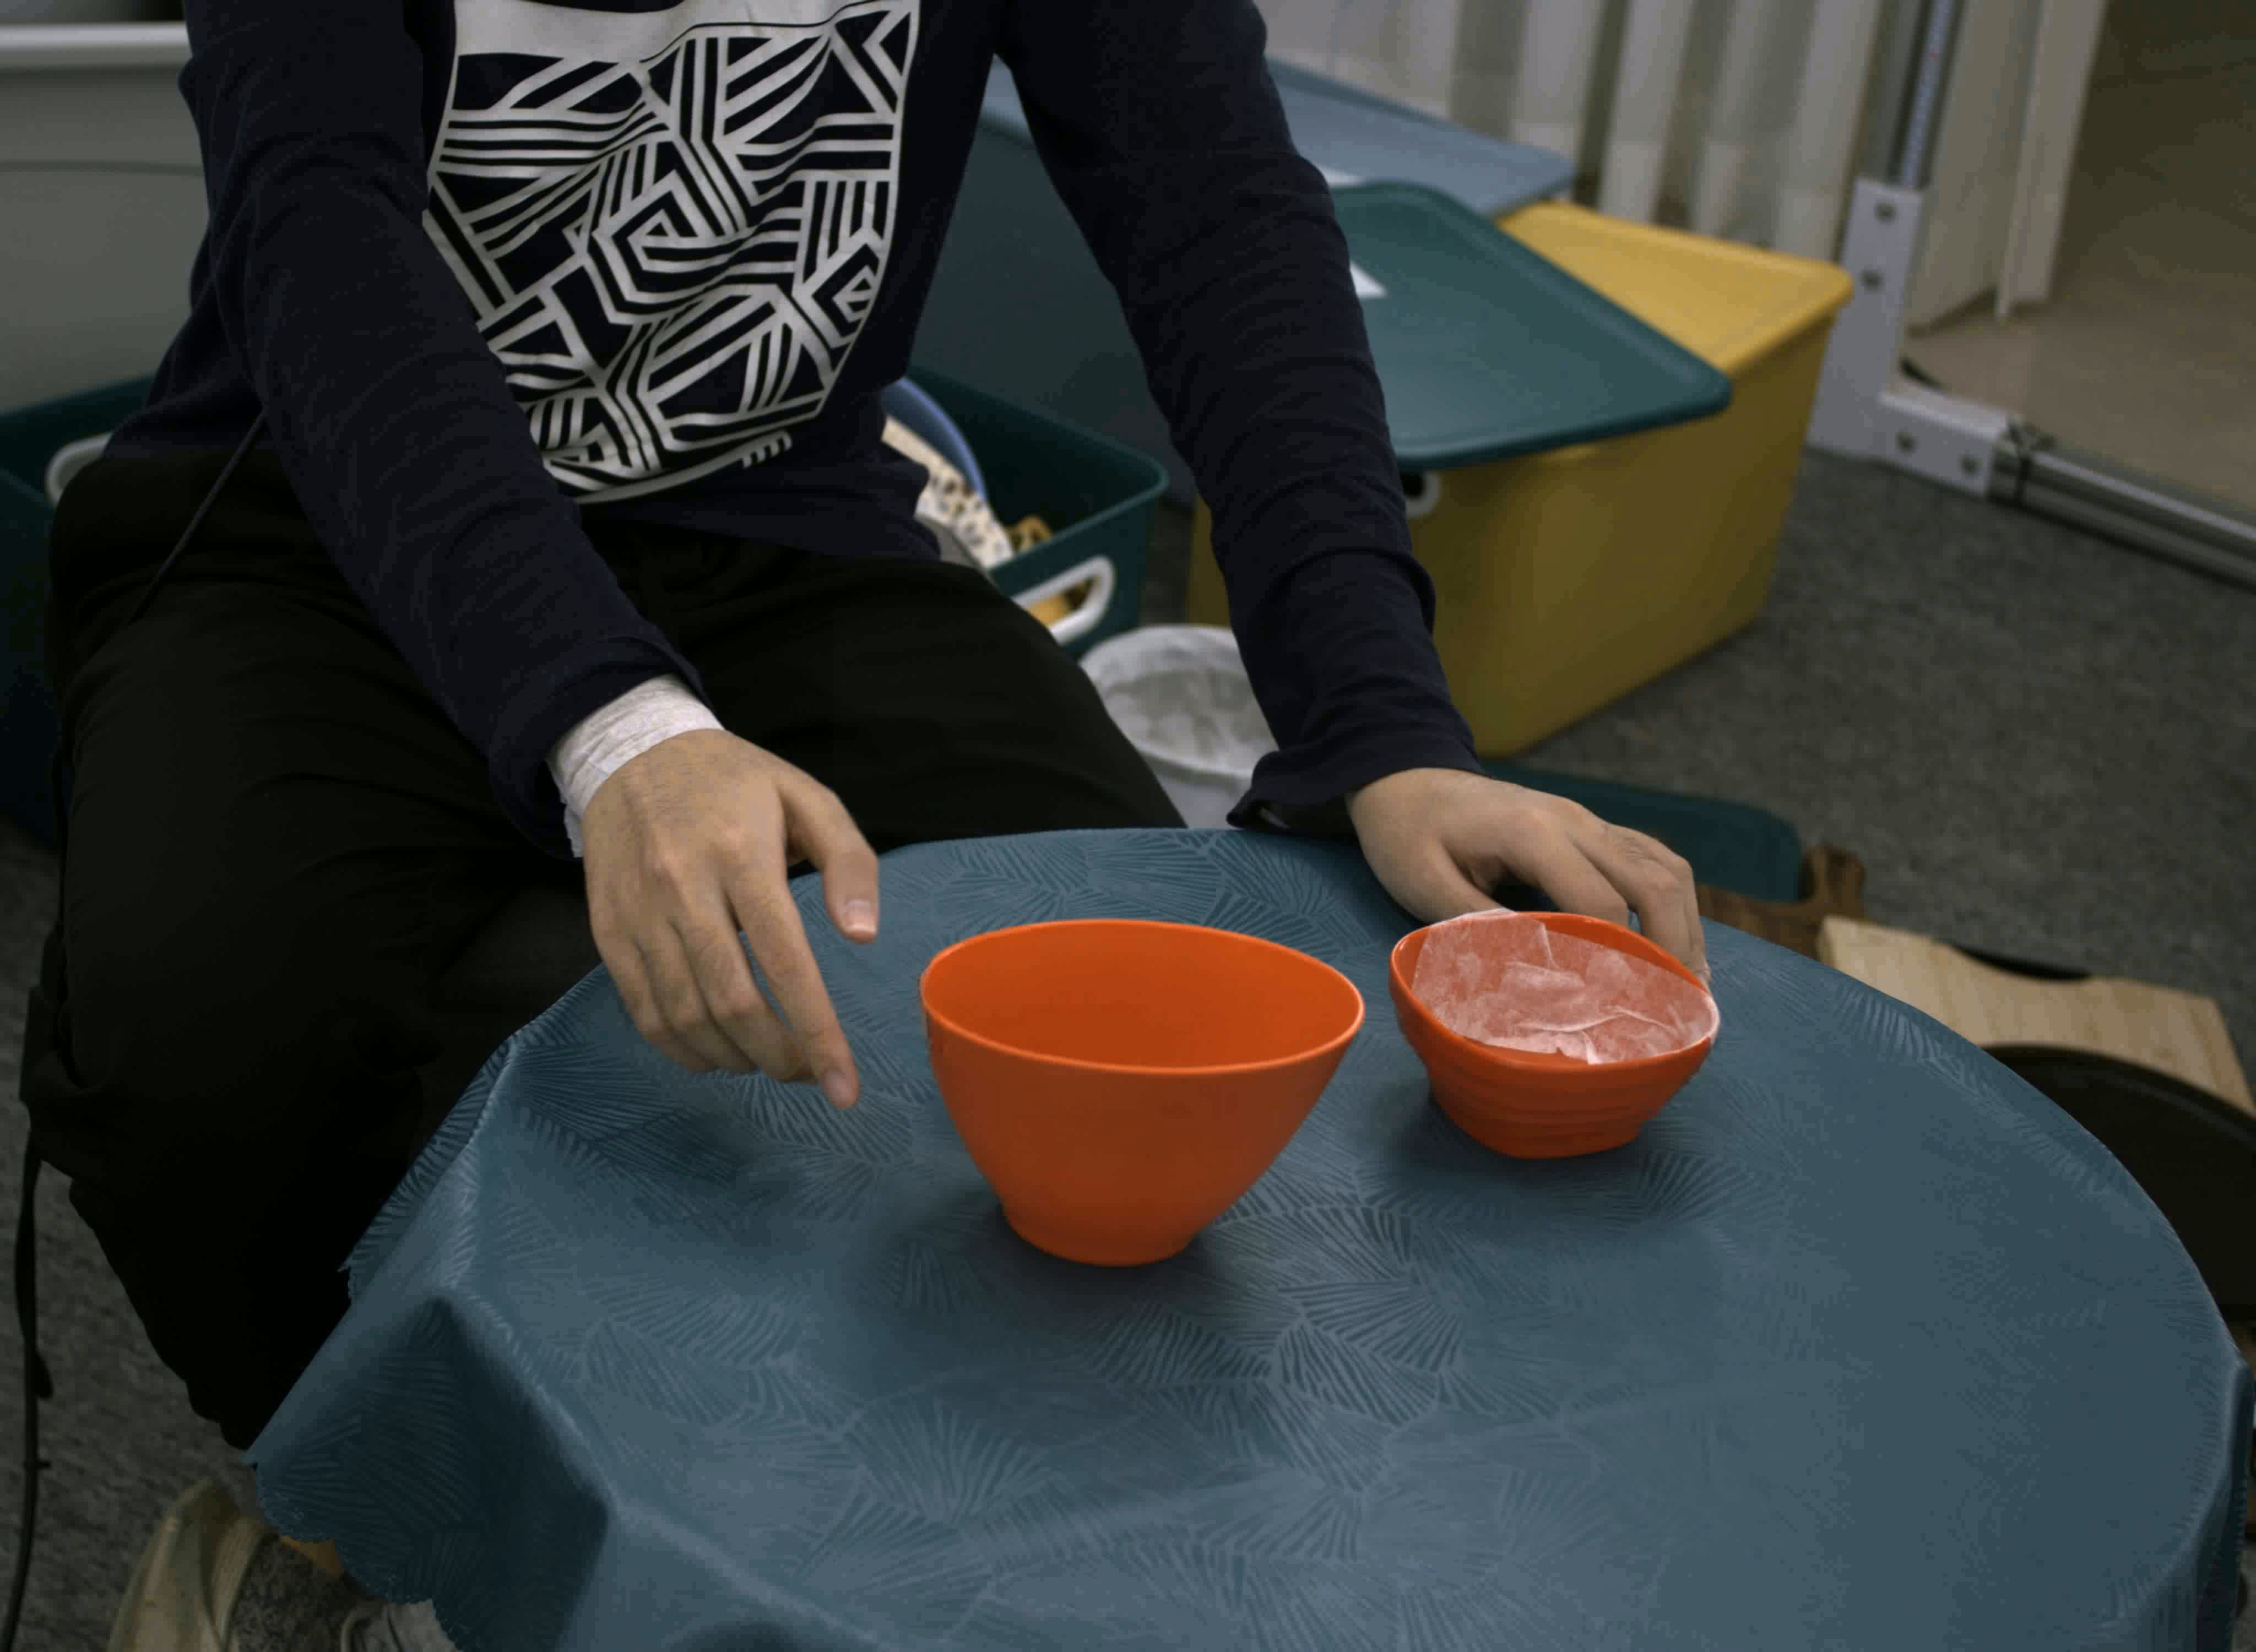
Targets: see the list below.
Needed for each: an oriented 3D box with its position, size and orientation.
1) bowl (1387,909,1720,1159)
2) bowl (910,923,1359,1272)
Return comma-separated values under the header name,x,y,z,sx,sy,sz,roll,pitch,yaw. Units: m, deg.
name,x,y,z,sx,sy,sz,roll,pitch,yaw
bowl,0.147,0.077,1.874,0.118,0.051,0.119,4,27,-2
bowl,-0.002,0.093,1.758,0.147,0.104,0.149,5,26,-3
